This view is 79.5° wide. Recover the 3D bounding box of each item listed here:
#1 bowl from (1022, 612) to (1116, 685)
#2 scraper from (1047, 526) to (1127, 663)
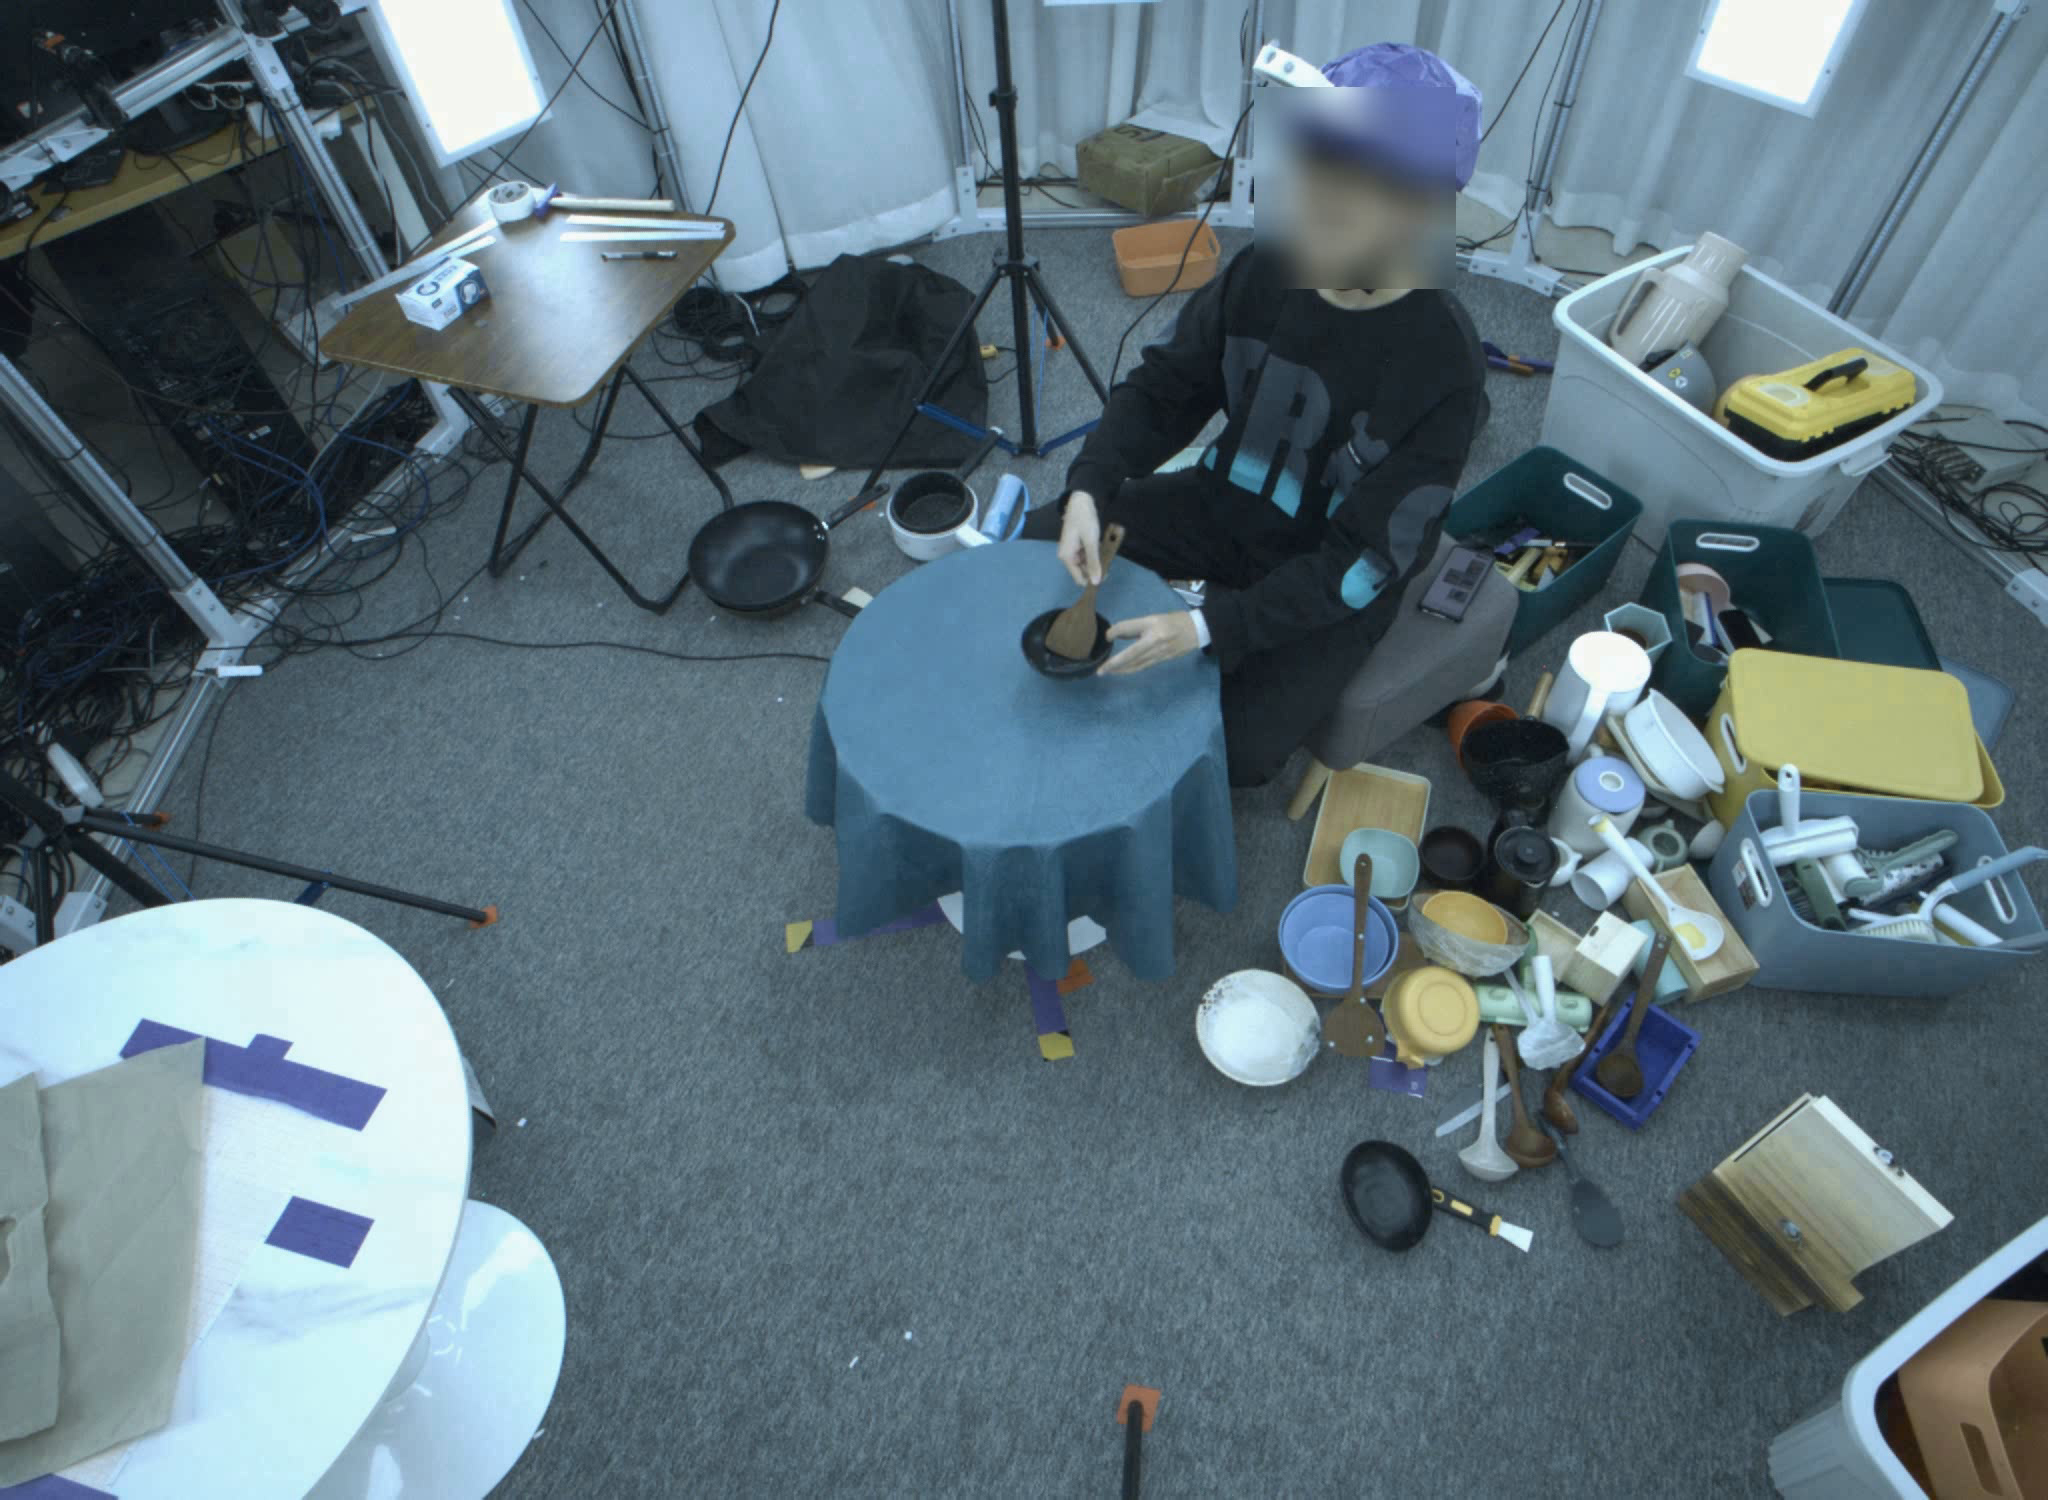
[{"bbox_3d":[0.068,-0.141,1.821,0.139,0.050,0.138,-4,47,6],"label":"bowl"},{"bbox_3d":[0.103,-0.234,1.831,0.075,0.011,0.211,24,97,15],"label":"scraper"}]
